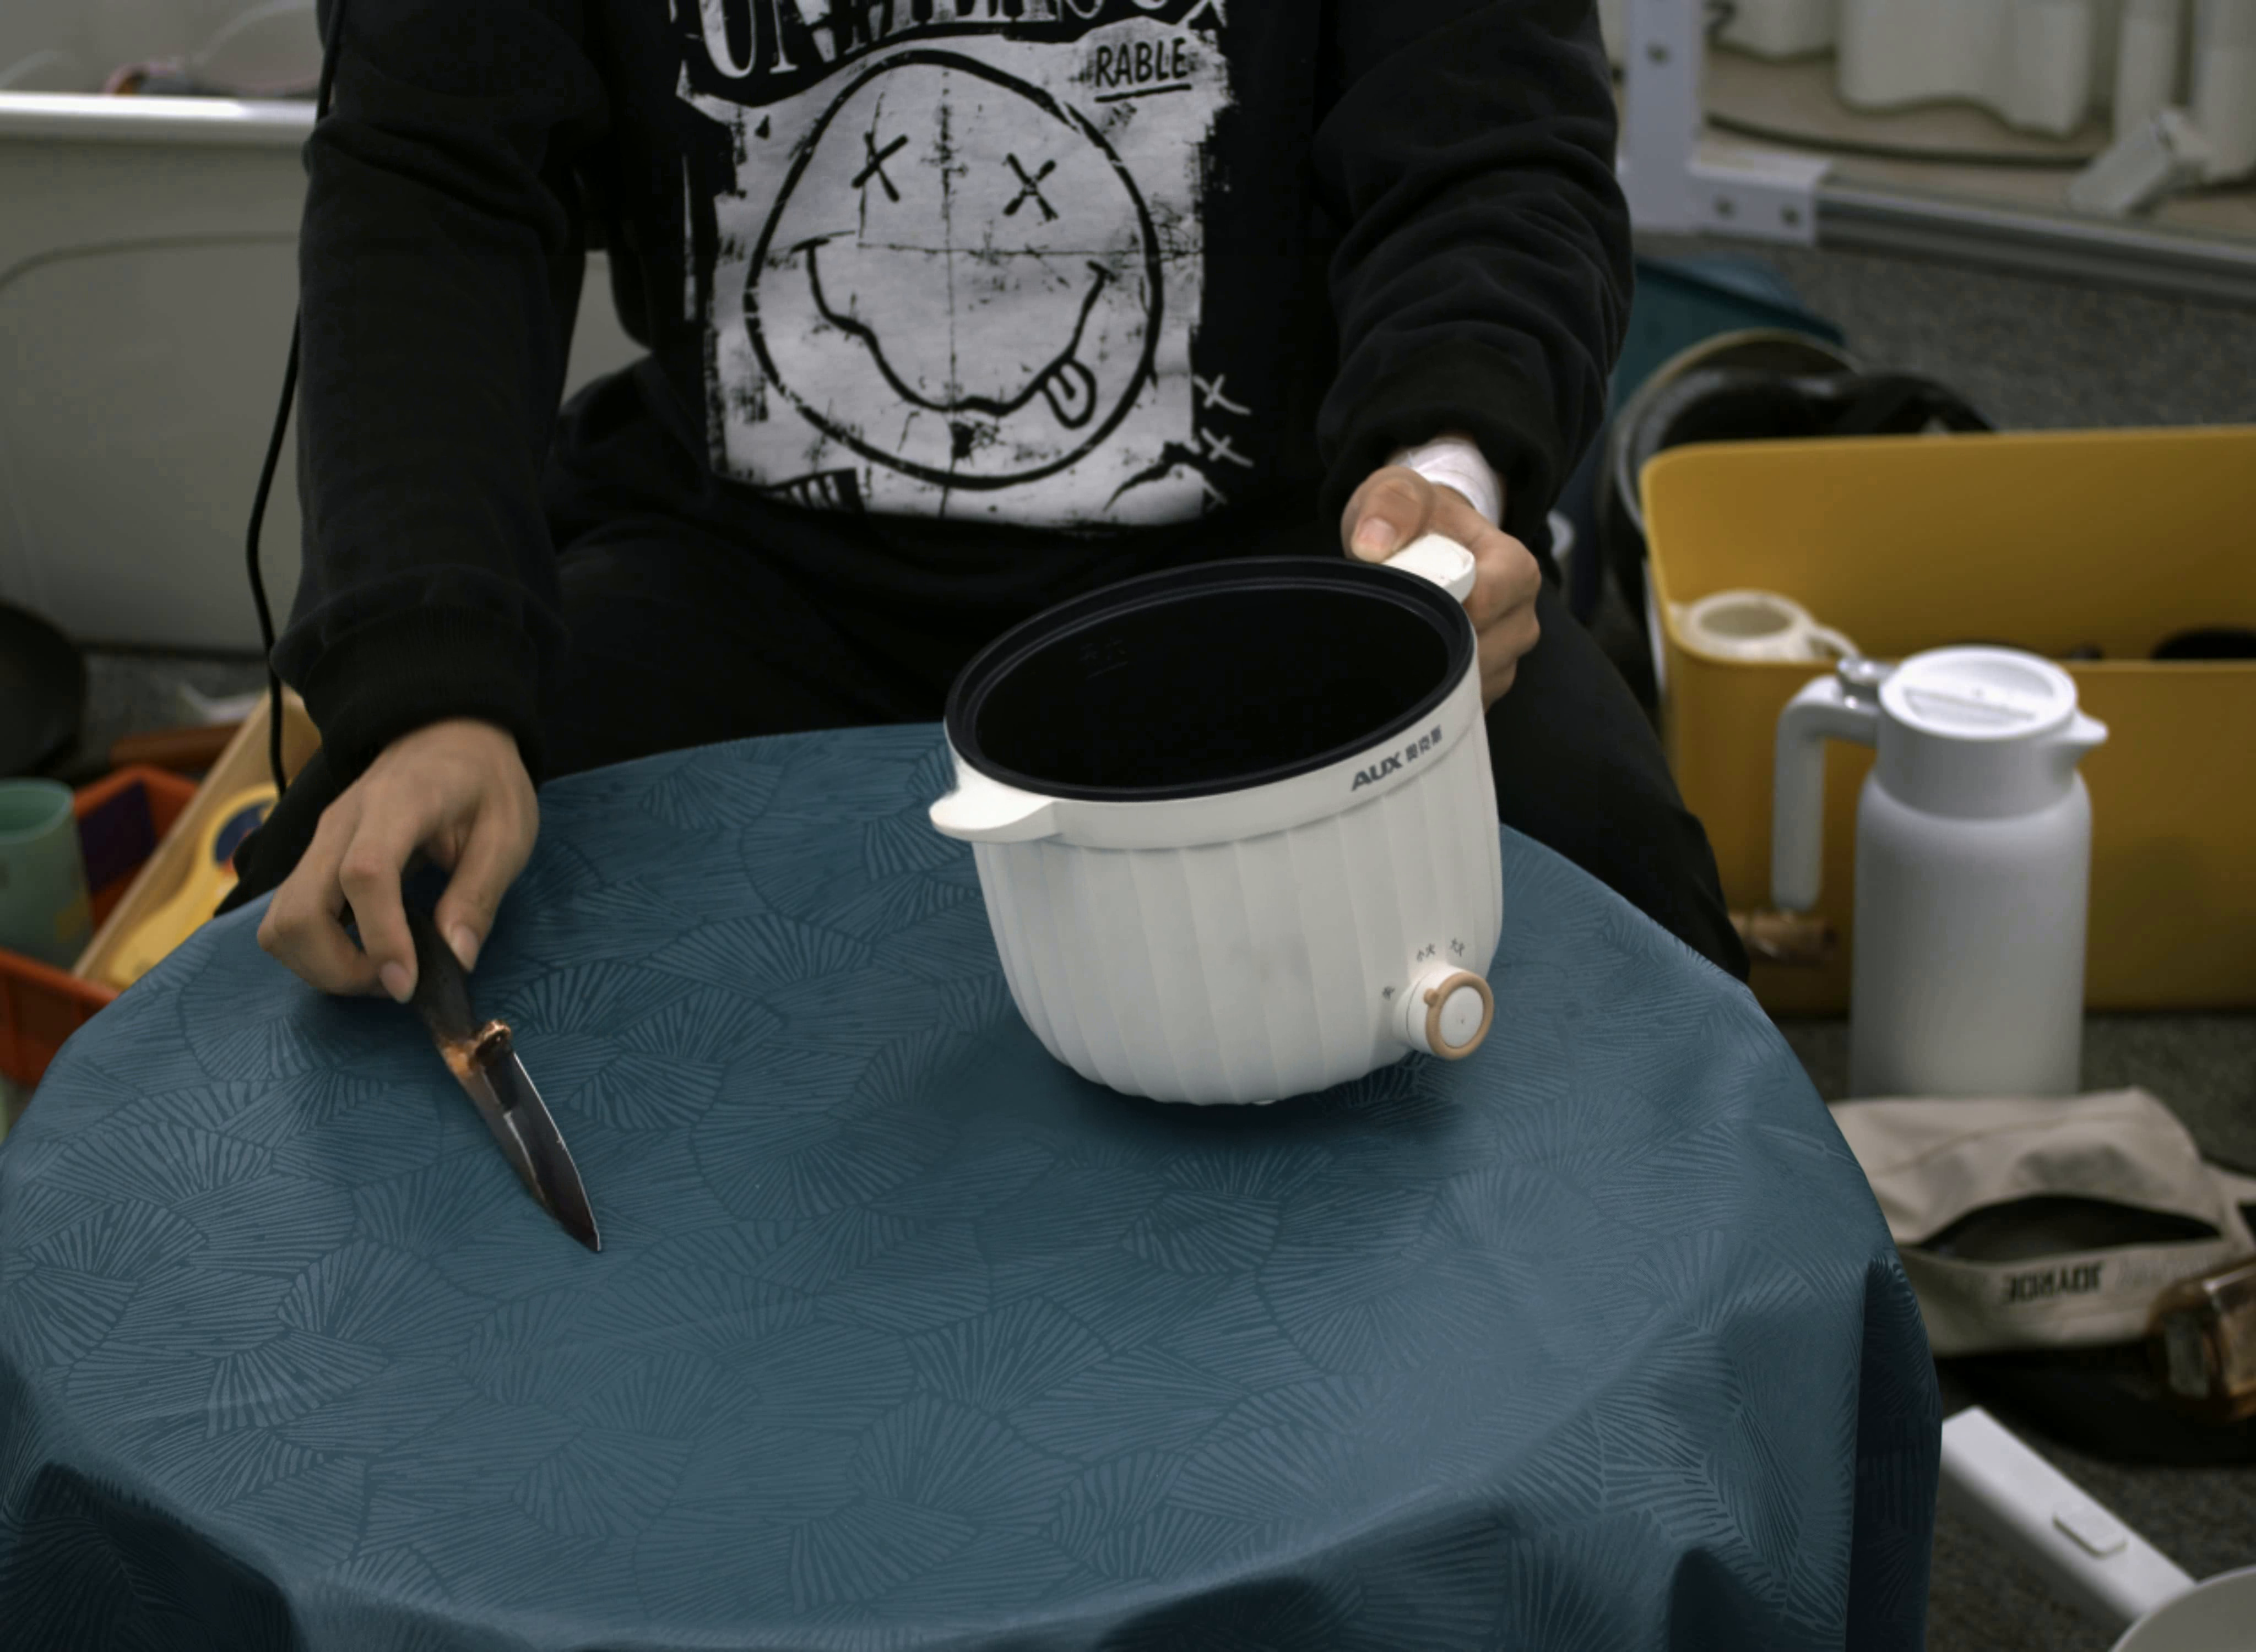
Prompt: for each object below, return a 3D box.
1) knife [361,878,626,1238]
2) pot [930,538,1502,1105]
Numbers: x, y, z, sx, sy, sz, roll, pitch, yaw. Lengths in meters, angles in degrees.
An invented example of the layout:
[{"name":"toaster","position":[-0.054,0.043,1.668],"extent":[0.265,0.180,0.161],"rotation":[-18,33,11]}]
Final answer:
[{"name":"knife","position":[-0.218,0.080,1.919],"extent":[0.026,0.017,0.227],"rotation":[-36,41,-3]},{"name":"pot","position":[0.042,0.006,1.914],"extent":[0.243,0.141,0.189],"rotation":[-31,28,-35]}]
